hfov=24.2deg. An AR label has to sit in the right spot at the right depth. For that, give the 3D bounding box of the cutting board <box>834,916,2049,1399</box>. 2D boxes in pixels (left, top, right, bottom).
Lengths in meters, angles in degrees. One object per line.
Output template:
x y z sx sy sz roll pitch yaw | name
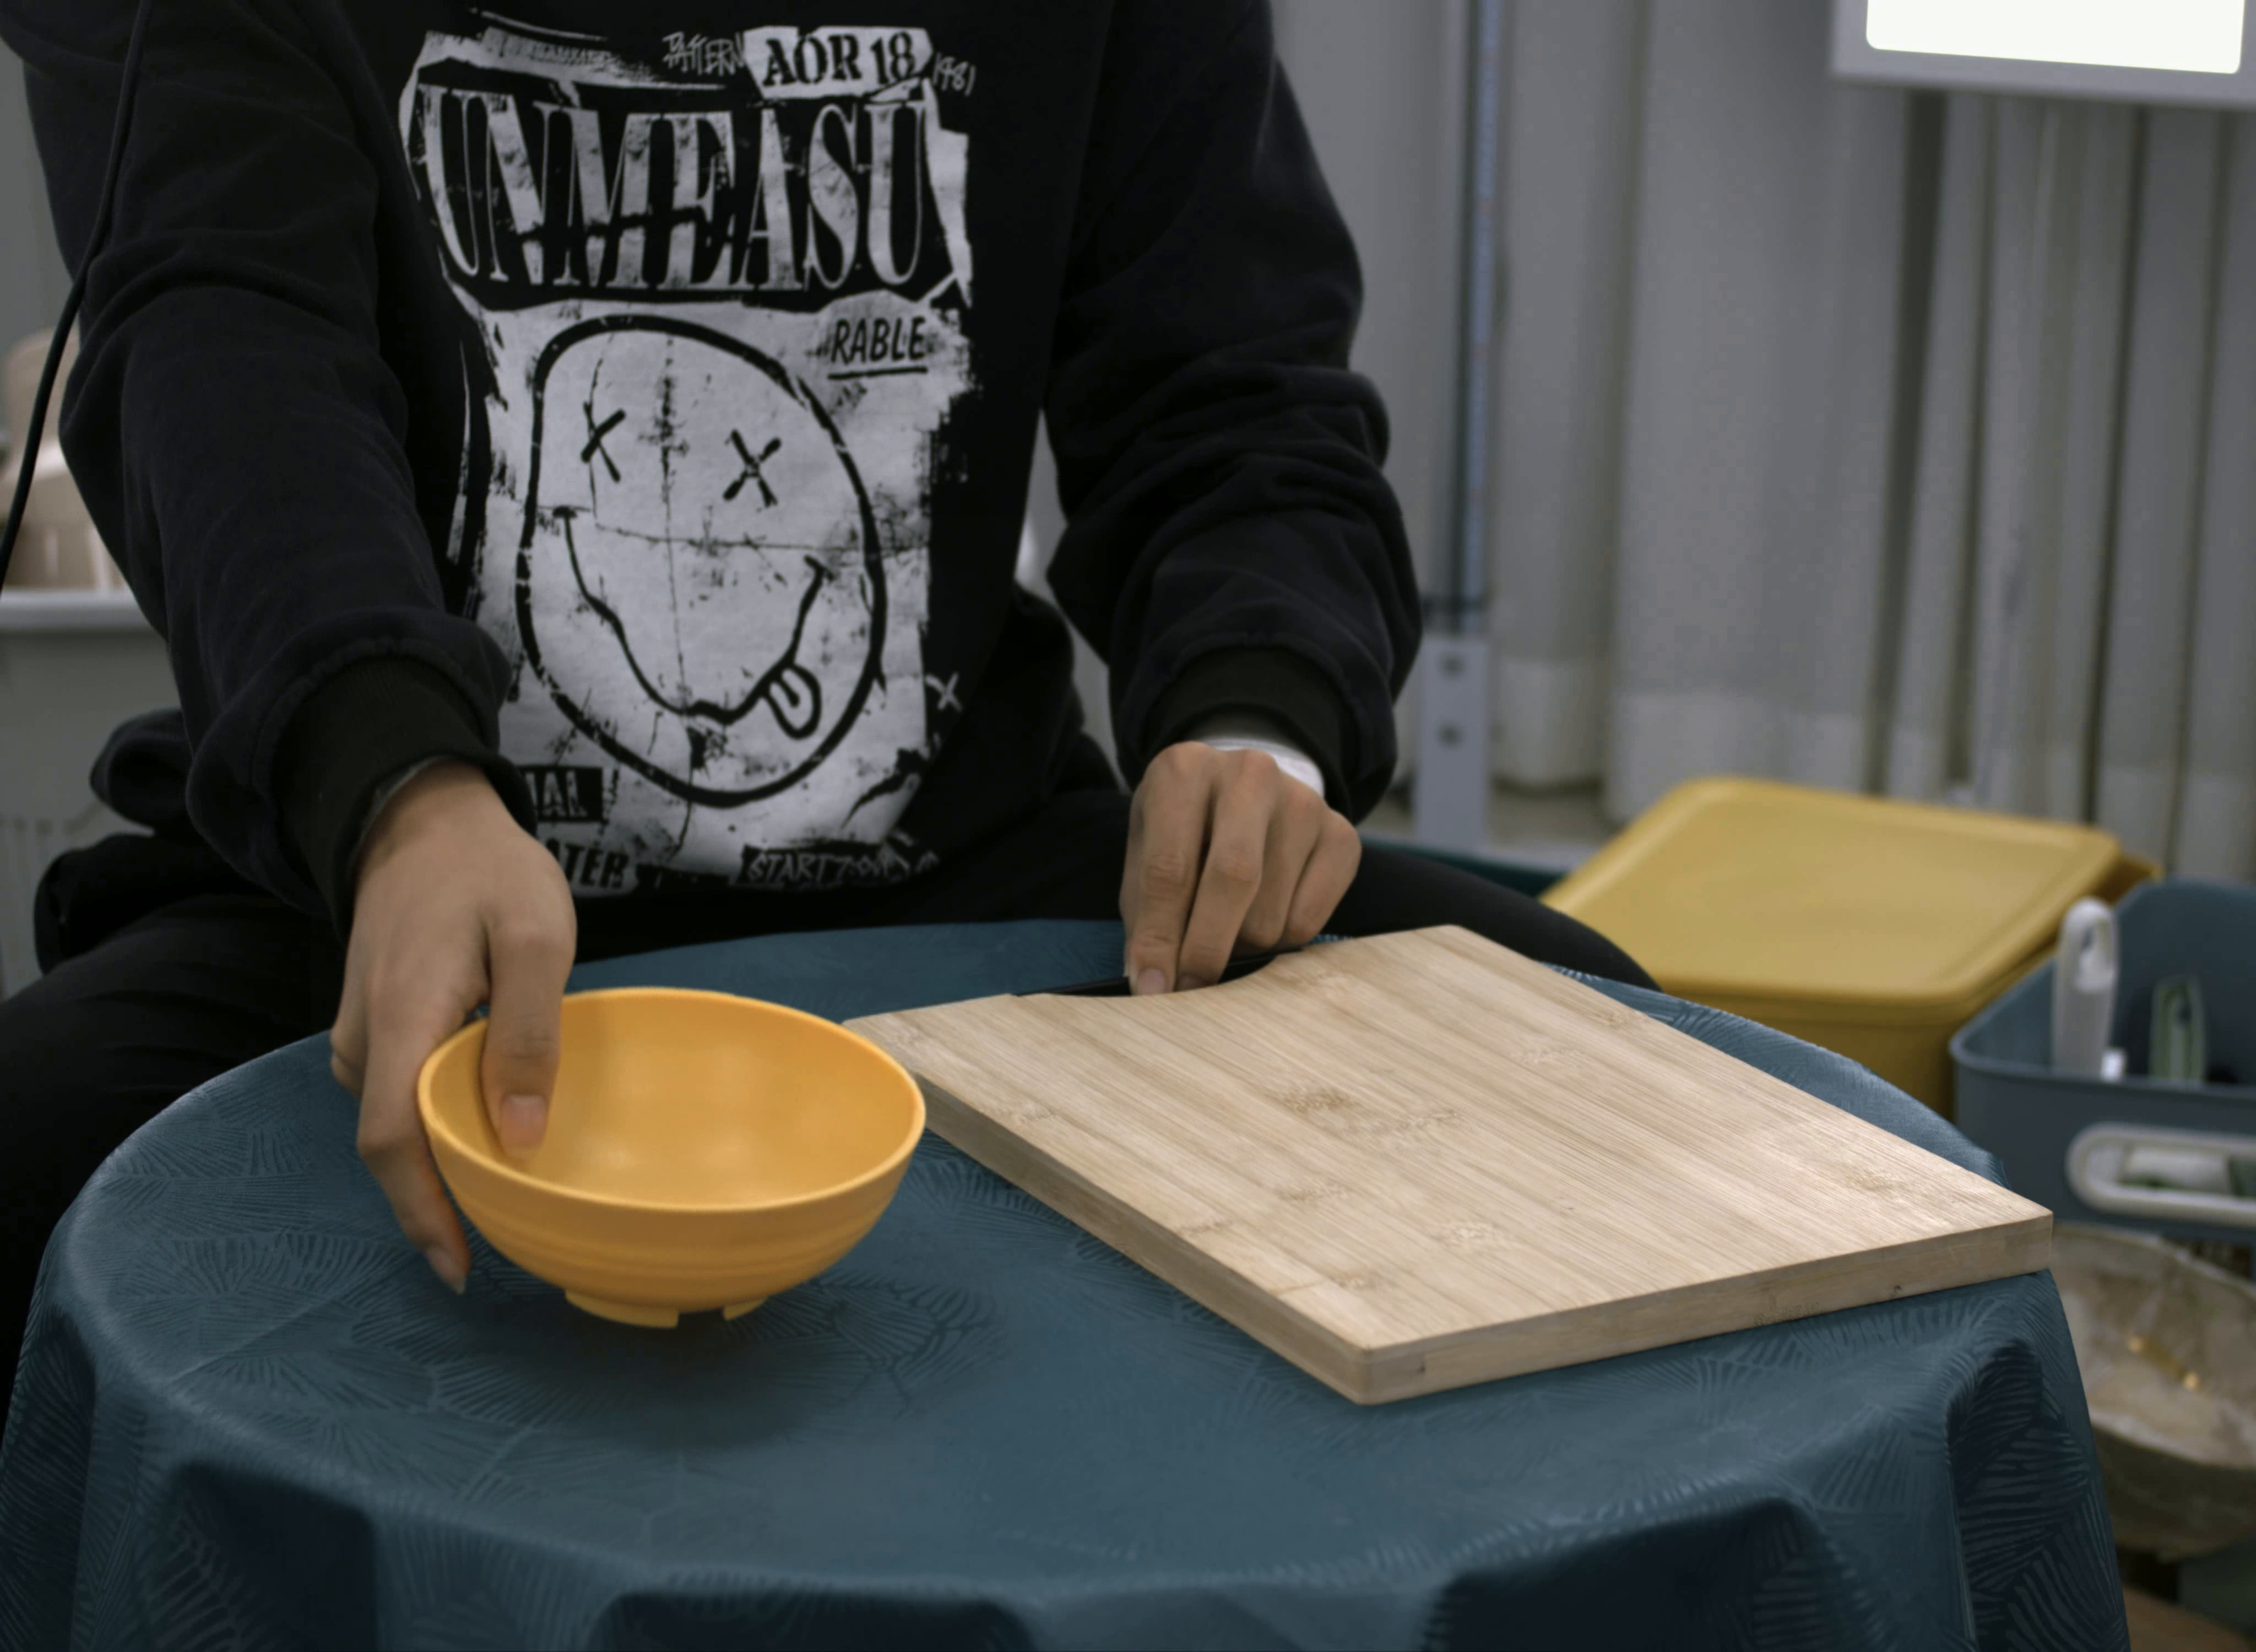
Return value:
0.088 0.097 1.655 0.252 0.024 0.344 -8 18 -29 | cutting board

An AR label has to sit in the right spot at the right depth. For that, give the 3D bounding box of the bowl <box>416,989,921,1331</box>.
-0.134 0.103 1.505 0.145 0.060 0.144 8 21 -3 | bowl
